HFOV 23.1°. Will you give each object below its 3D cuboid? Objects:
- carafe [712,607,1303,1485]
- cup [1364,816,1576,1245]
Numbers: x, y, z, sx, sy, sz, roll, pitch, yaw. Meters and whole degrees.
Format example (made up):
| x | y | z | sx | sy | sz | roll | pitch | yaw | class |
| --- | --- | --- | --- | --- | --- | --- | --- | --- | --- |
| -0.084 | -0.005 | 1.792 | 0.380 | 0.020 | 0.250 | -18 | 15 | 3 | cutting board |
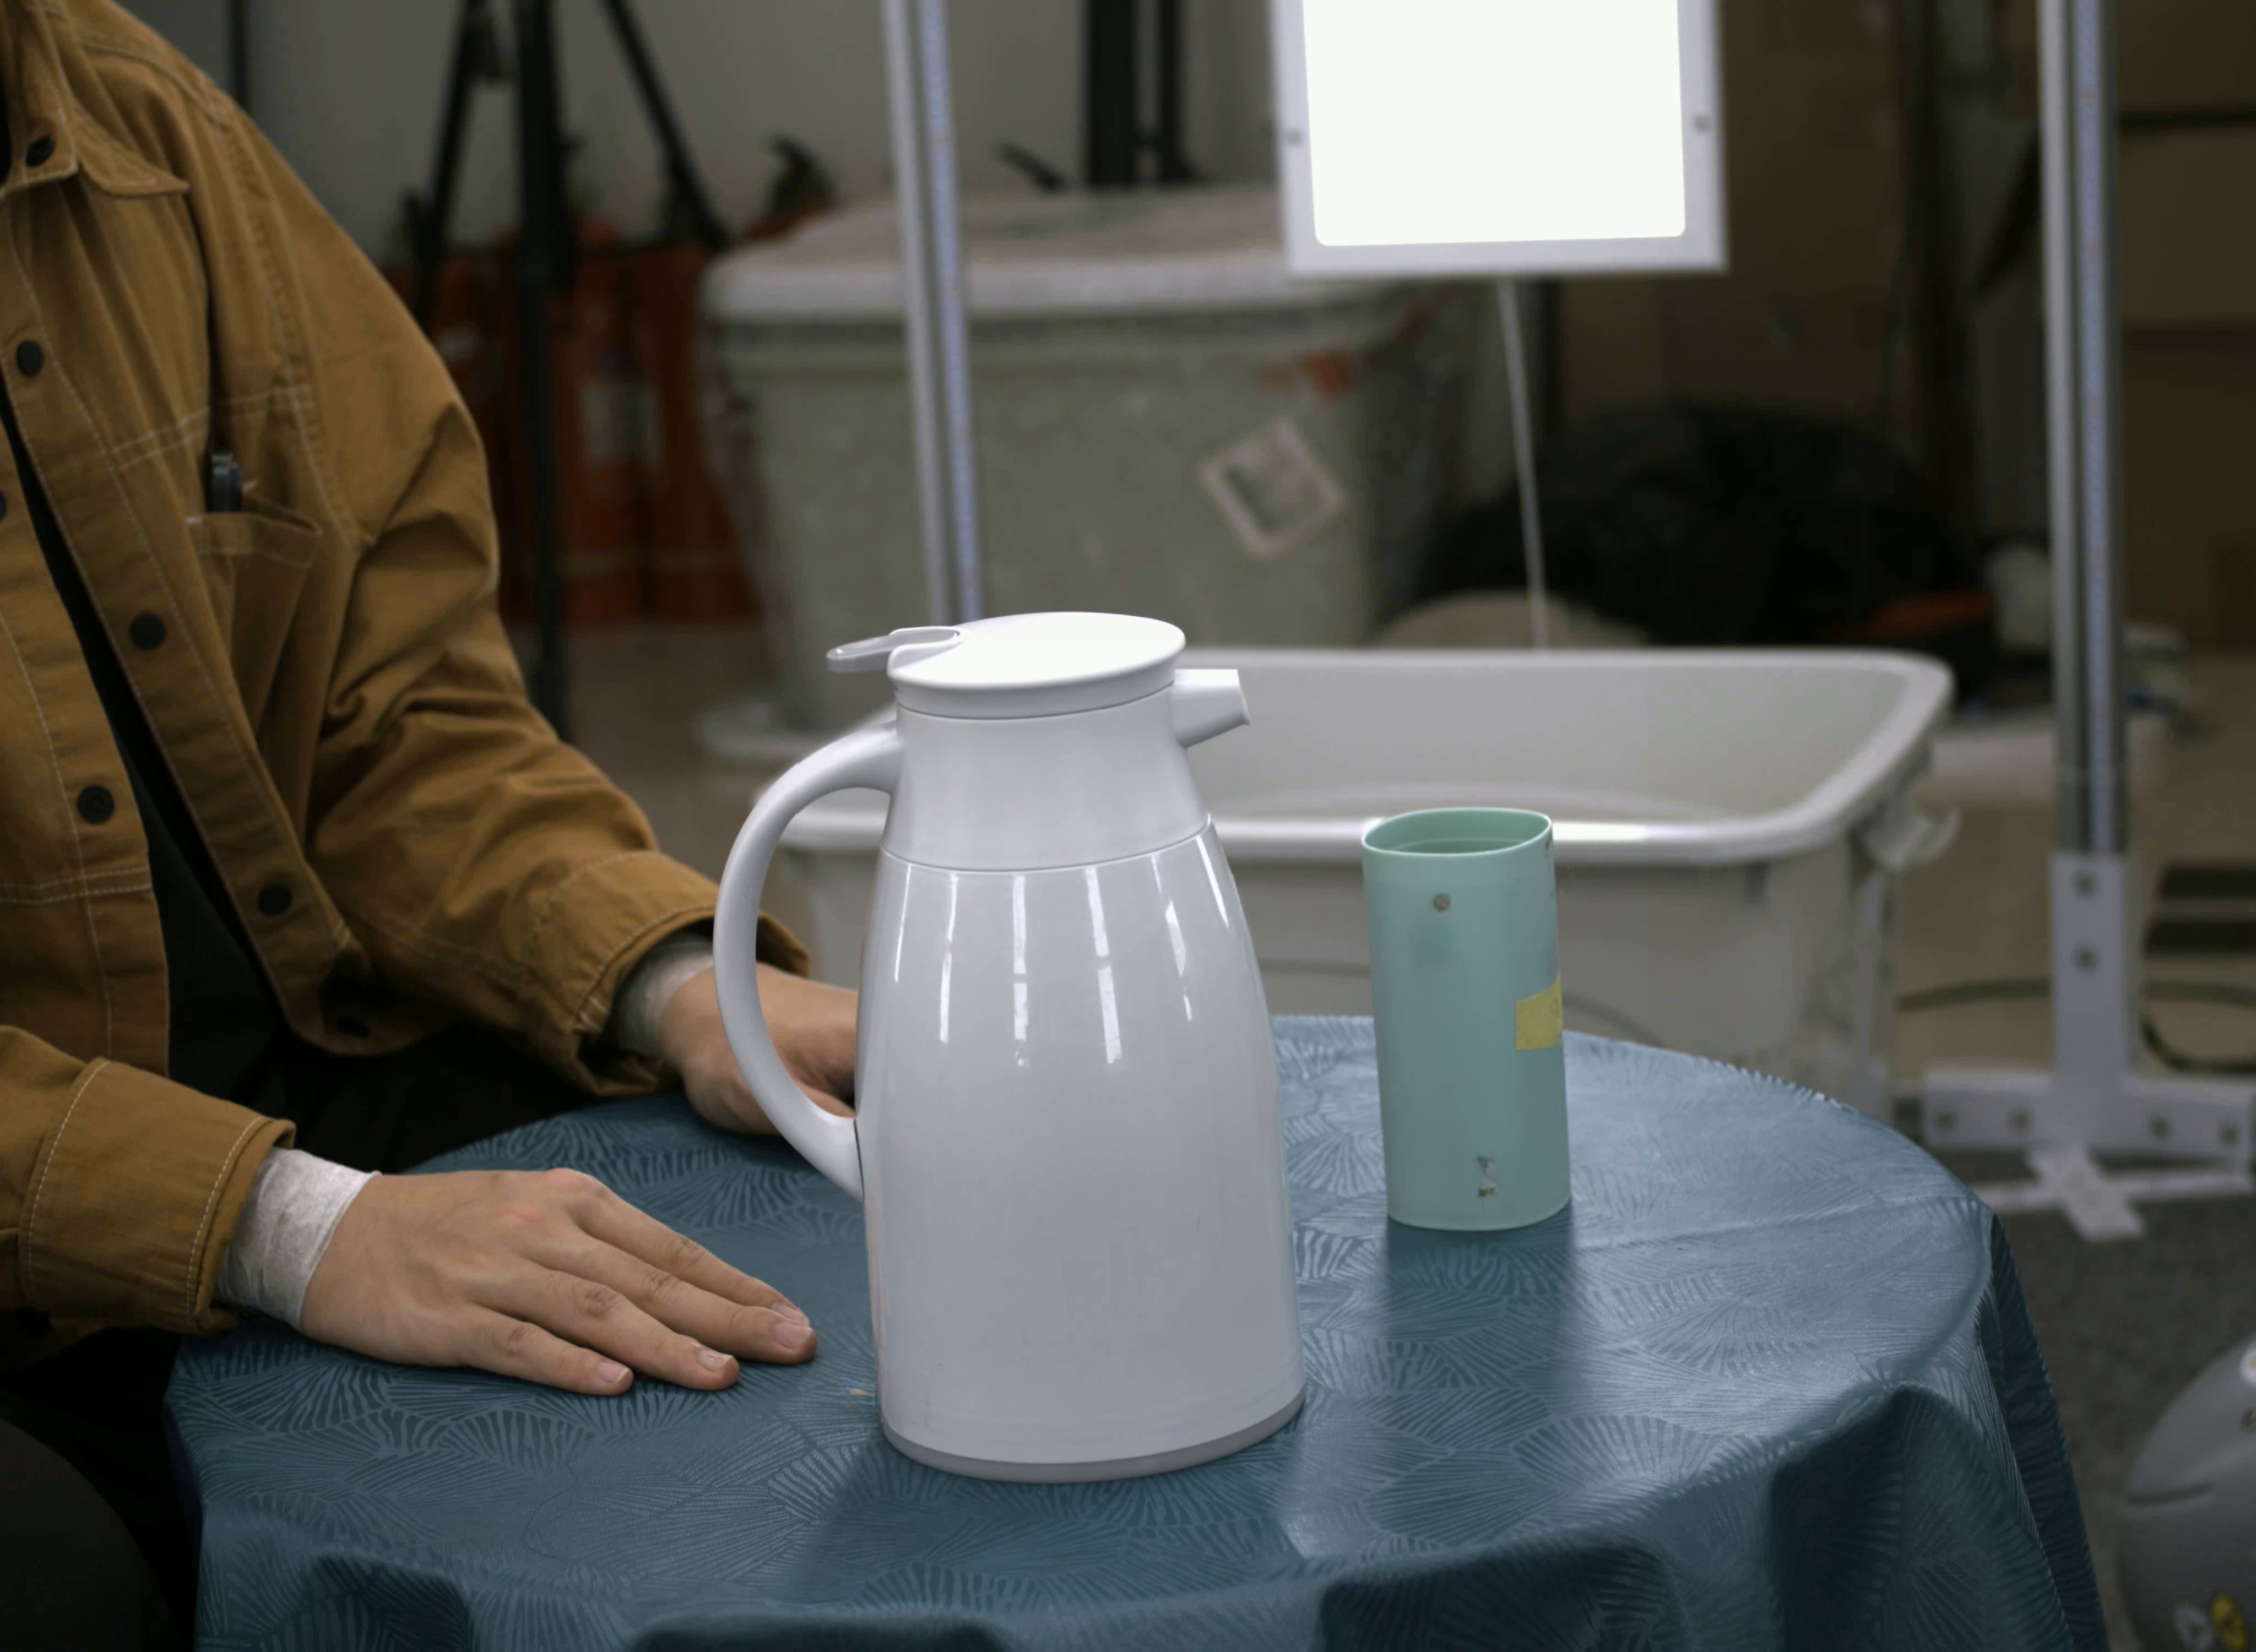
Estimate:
| x | y | z | sx | sy | sz | roll | pitch | yaw | class |
| --- | --- | --- | --- | --- | --- | --- | --- | --- | --- |
| -0.039 | 0.061 | 1.659 | 0.167 | 0.249 | 0.132 | -5 | 14 | 1 | carafe |
| 0.114 | 0.067 | 1.837 | 0.066 | 0.133 | 0.066 | -5 | 13 | 0 | cup |
